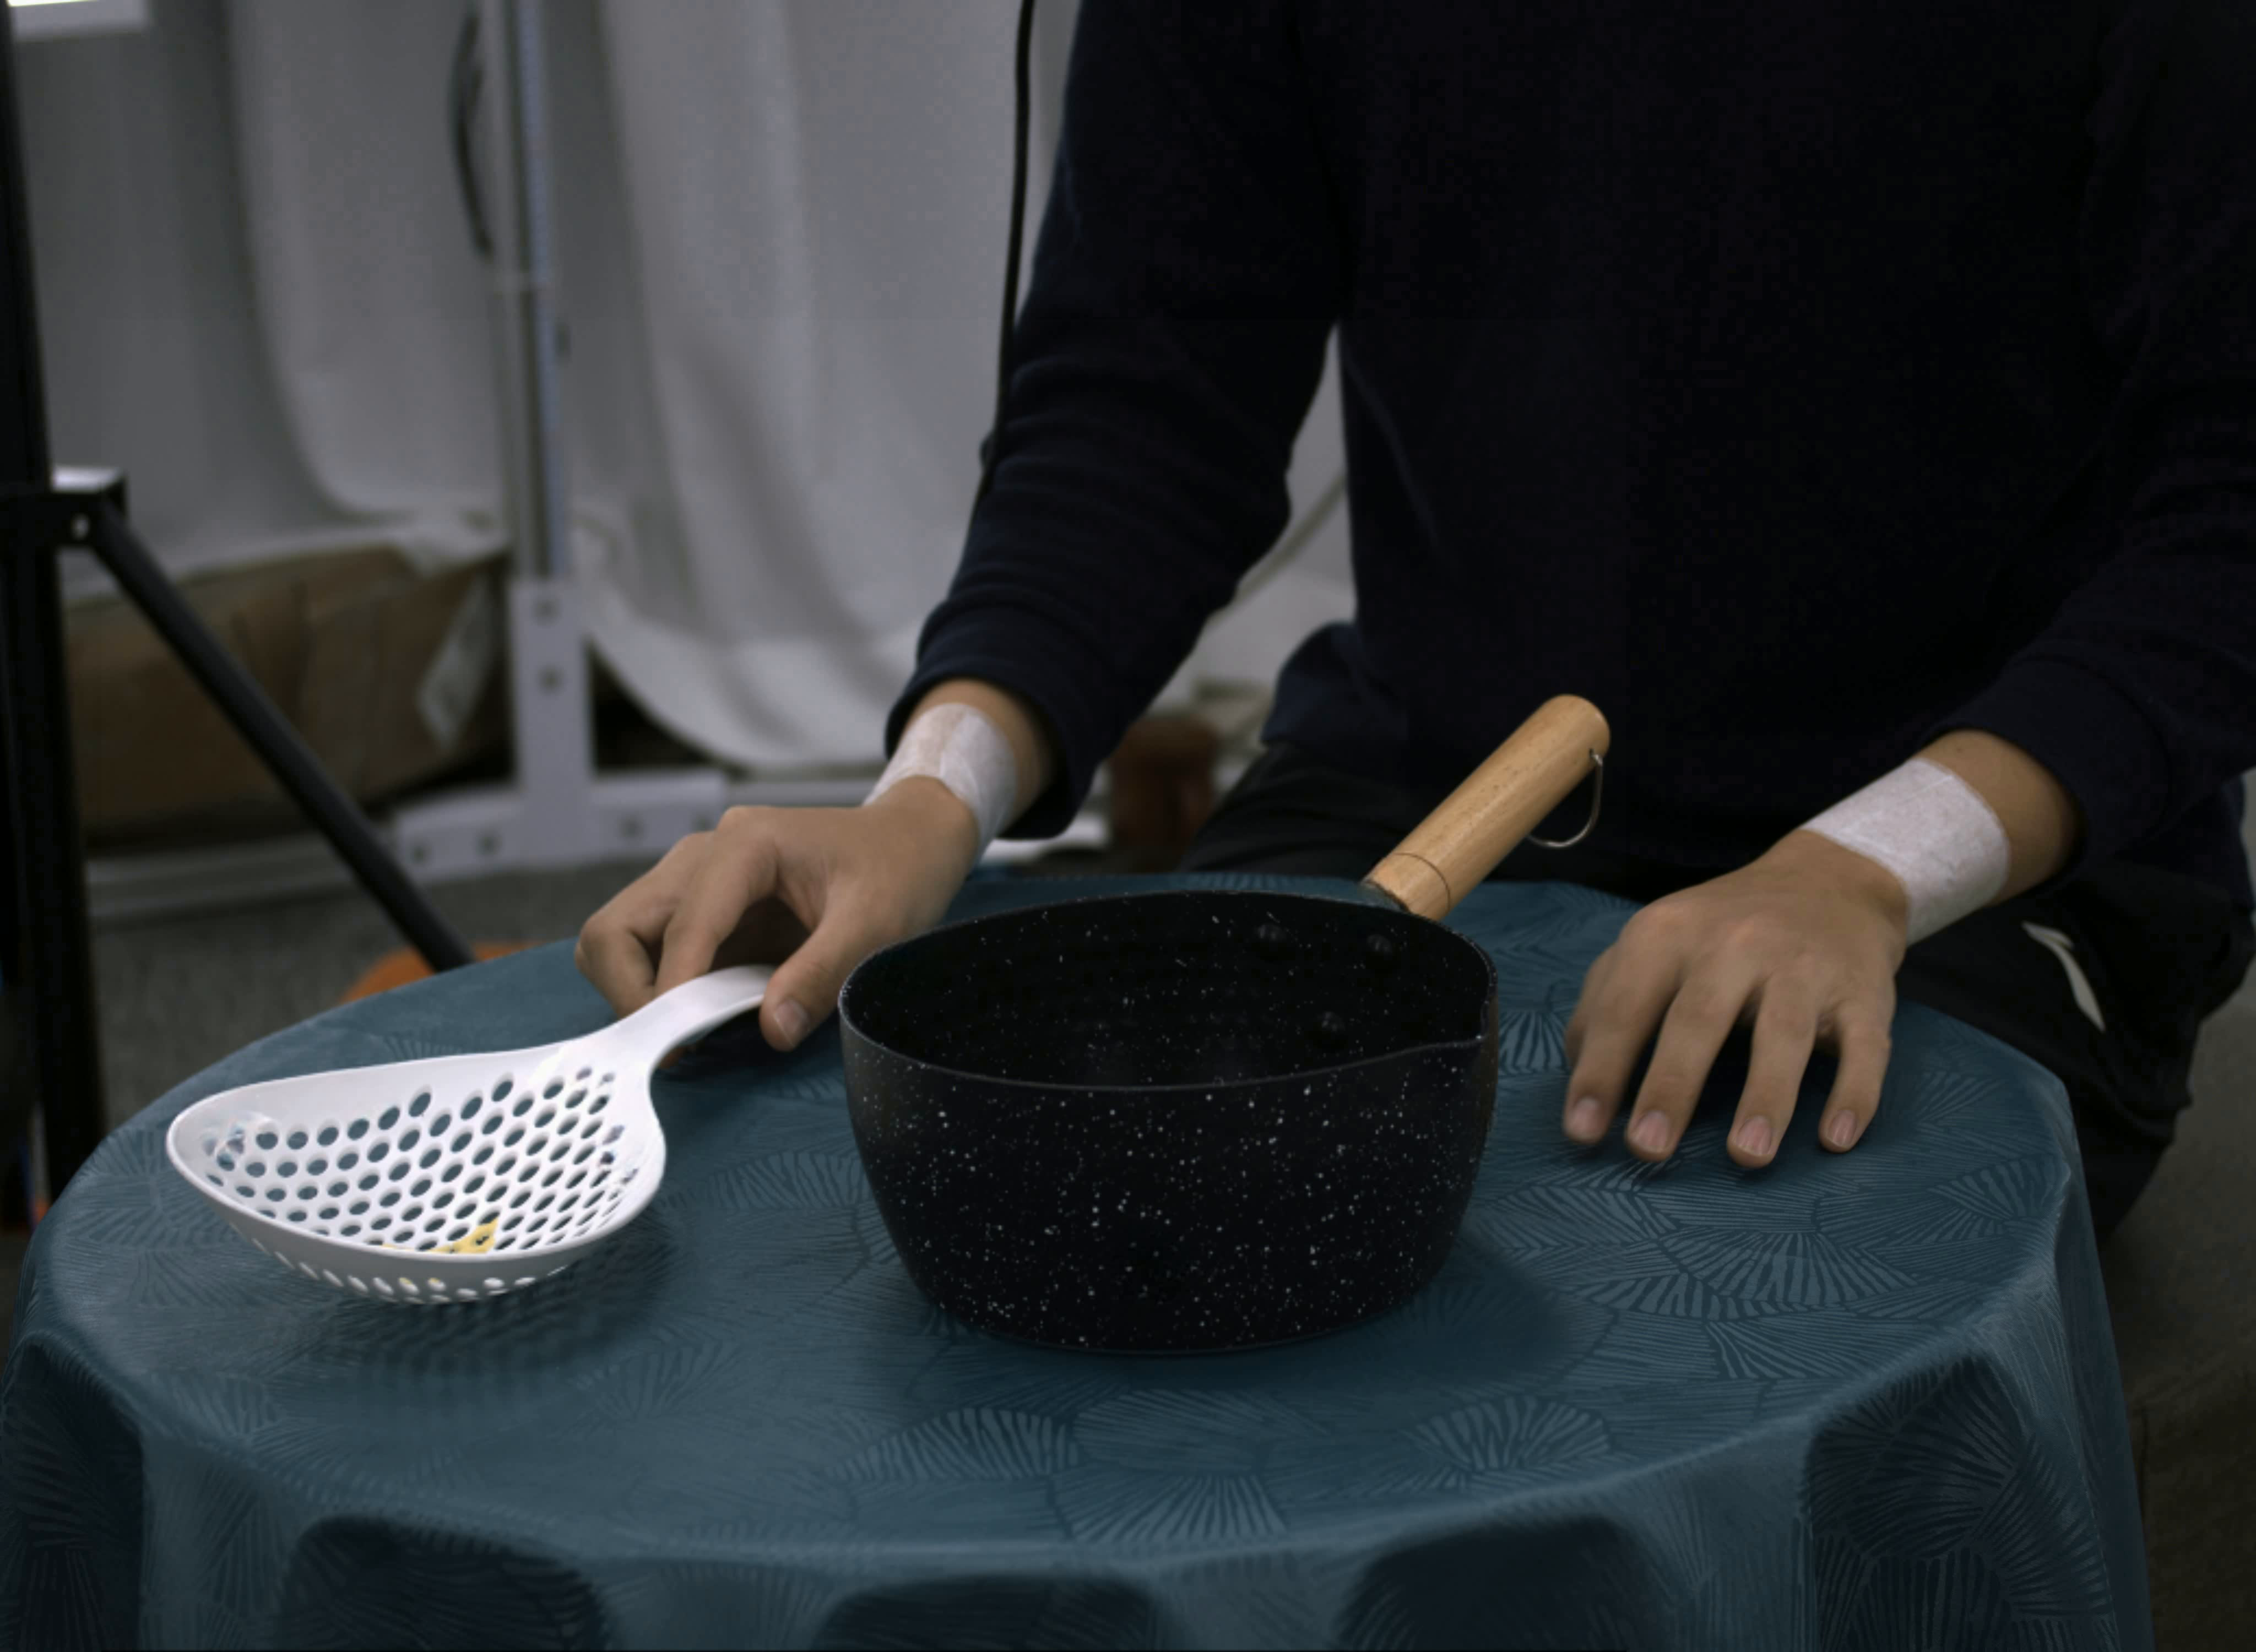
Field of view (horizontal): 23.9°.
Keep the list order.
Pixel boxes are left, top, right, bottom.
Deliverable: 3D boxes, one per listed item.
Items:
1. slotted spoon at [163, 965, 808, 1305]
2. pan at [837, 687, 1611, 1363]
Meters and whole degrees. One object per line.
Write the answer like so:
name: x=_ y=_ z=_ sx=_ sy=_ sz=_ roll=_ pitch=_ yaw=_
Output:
slotted spoon: x=-0.163 y=0.080 z=1.604 sx=0.138 sy=0.050 sz=0.343 roll=13 pitch=21 yaw=18
pan: x=0.053 y=0.053 z=1.547 sx=0.211 sy=0.108 sz=0.336 roll=6 pitch=19 yaw=32
